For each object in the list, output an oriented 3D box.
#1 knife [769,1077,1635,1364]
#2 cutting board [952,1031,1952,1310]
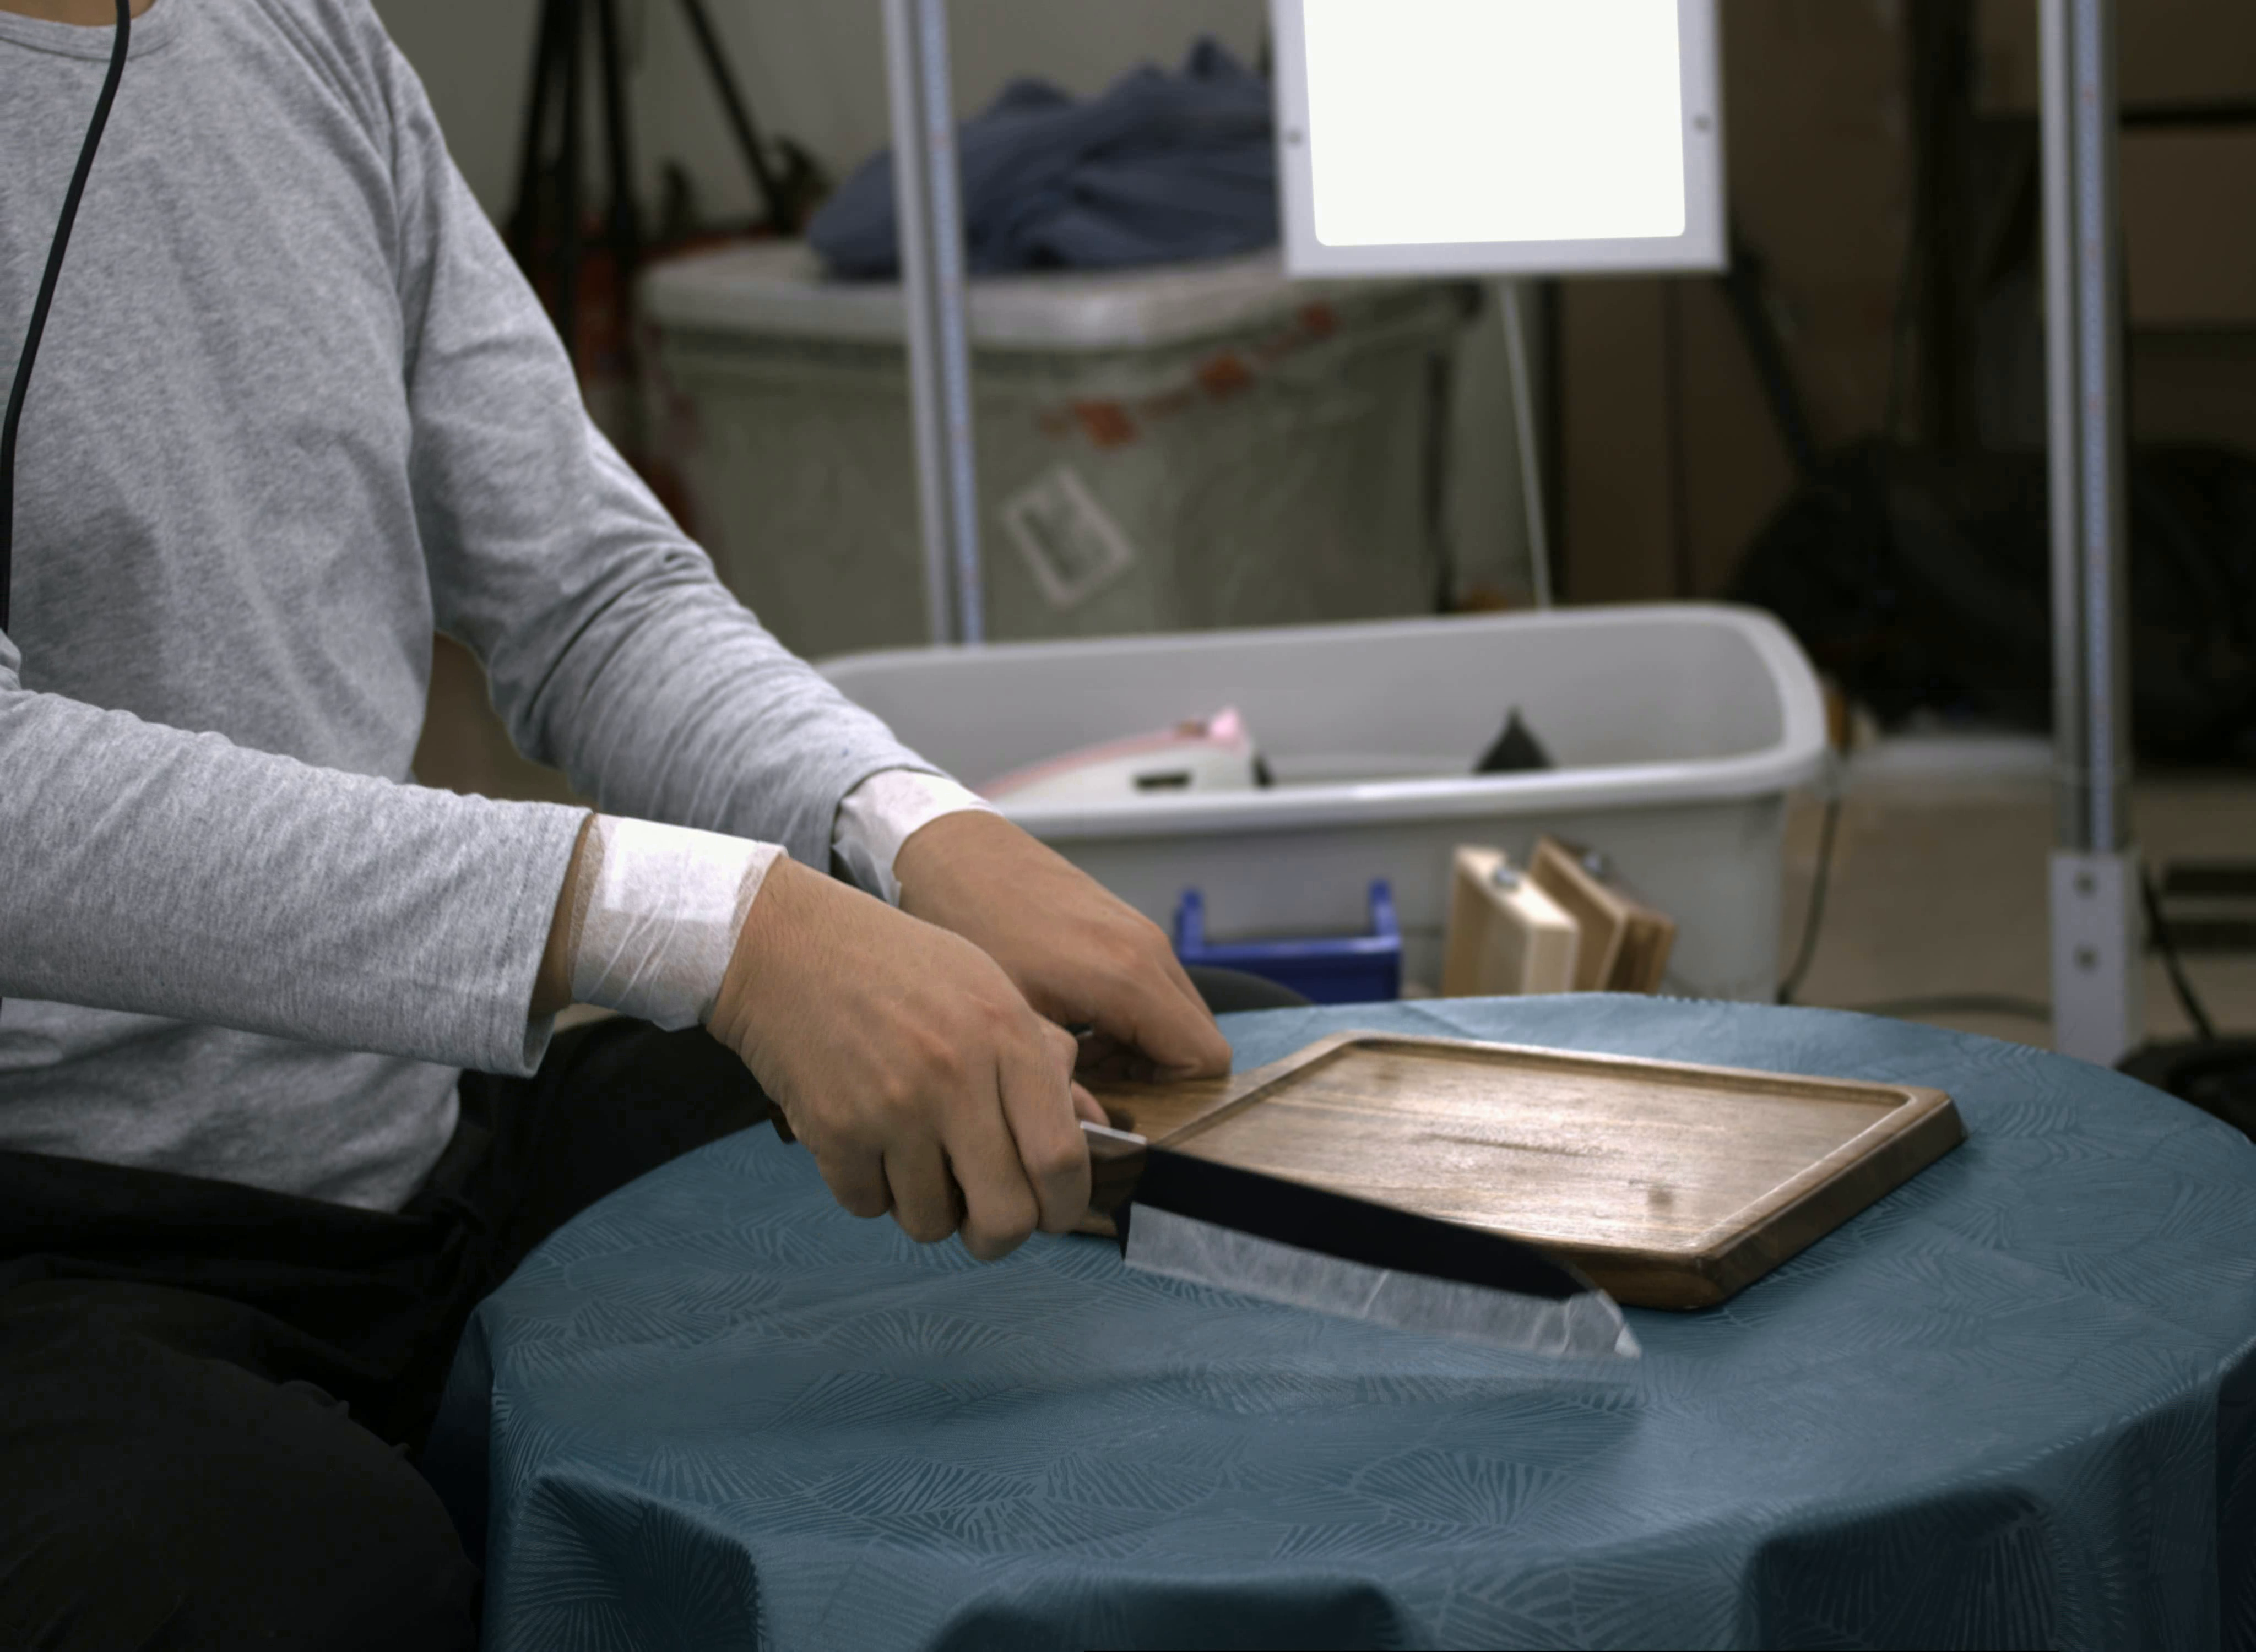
[{"bbox_3d":[0.021,0.123,1.708,0.292,0.050,0.019,15,31,19],"label":"knife"},{"bbox_3d":[0.089,0.110,1.896,0.359,0.023,0.196,5,16,35],"label":"cutting board"}]
